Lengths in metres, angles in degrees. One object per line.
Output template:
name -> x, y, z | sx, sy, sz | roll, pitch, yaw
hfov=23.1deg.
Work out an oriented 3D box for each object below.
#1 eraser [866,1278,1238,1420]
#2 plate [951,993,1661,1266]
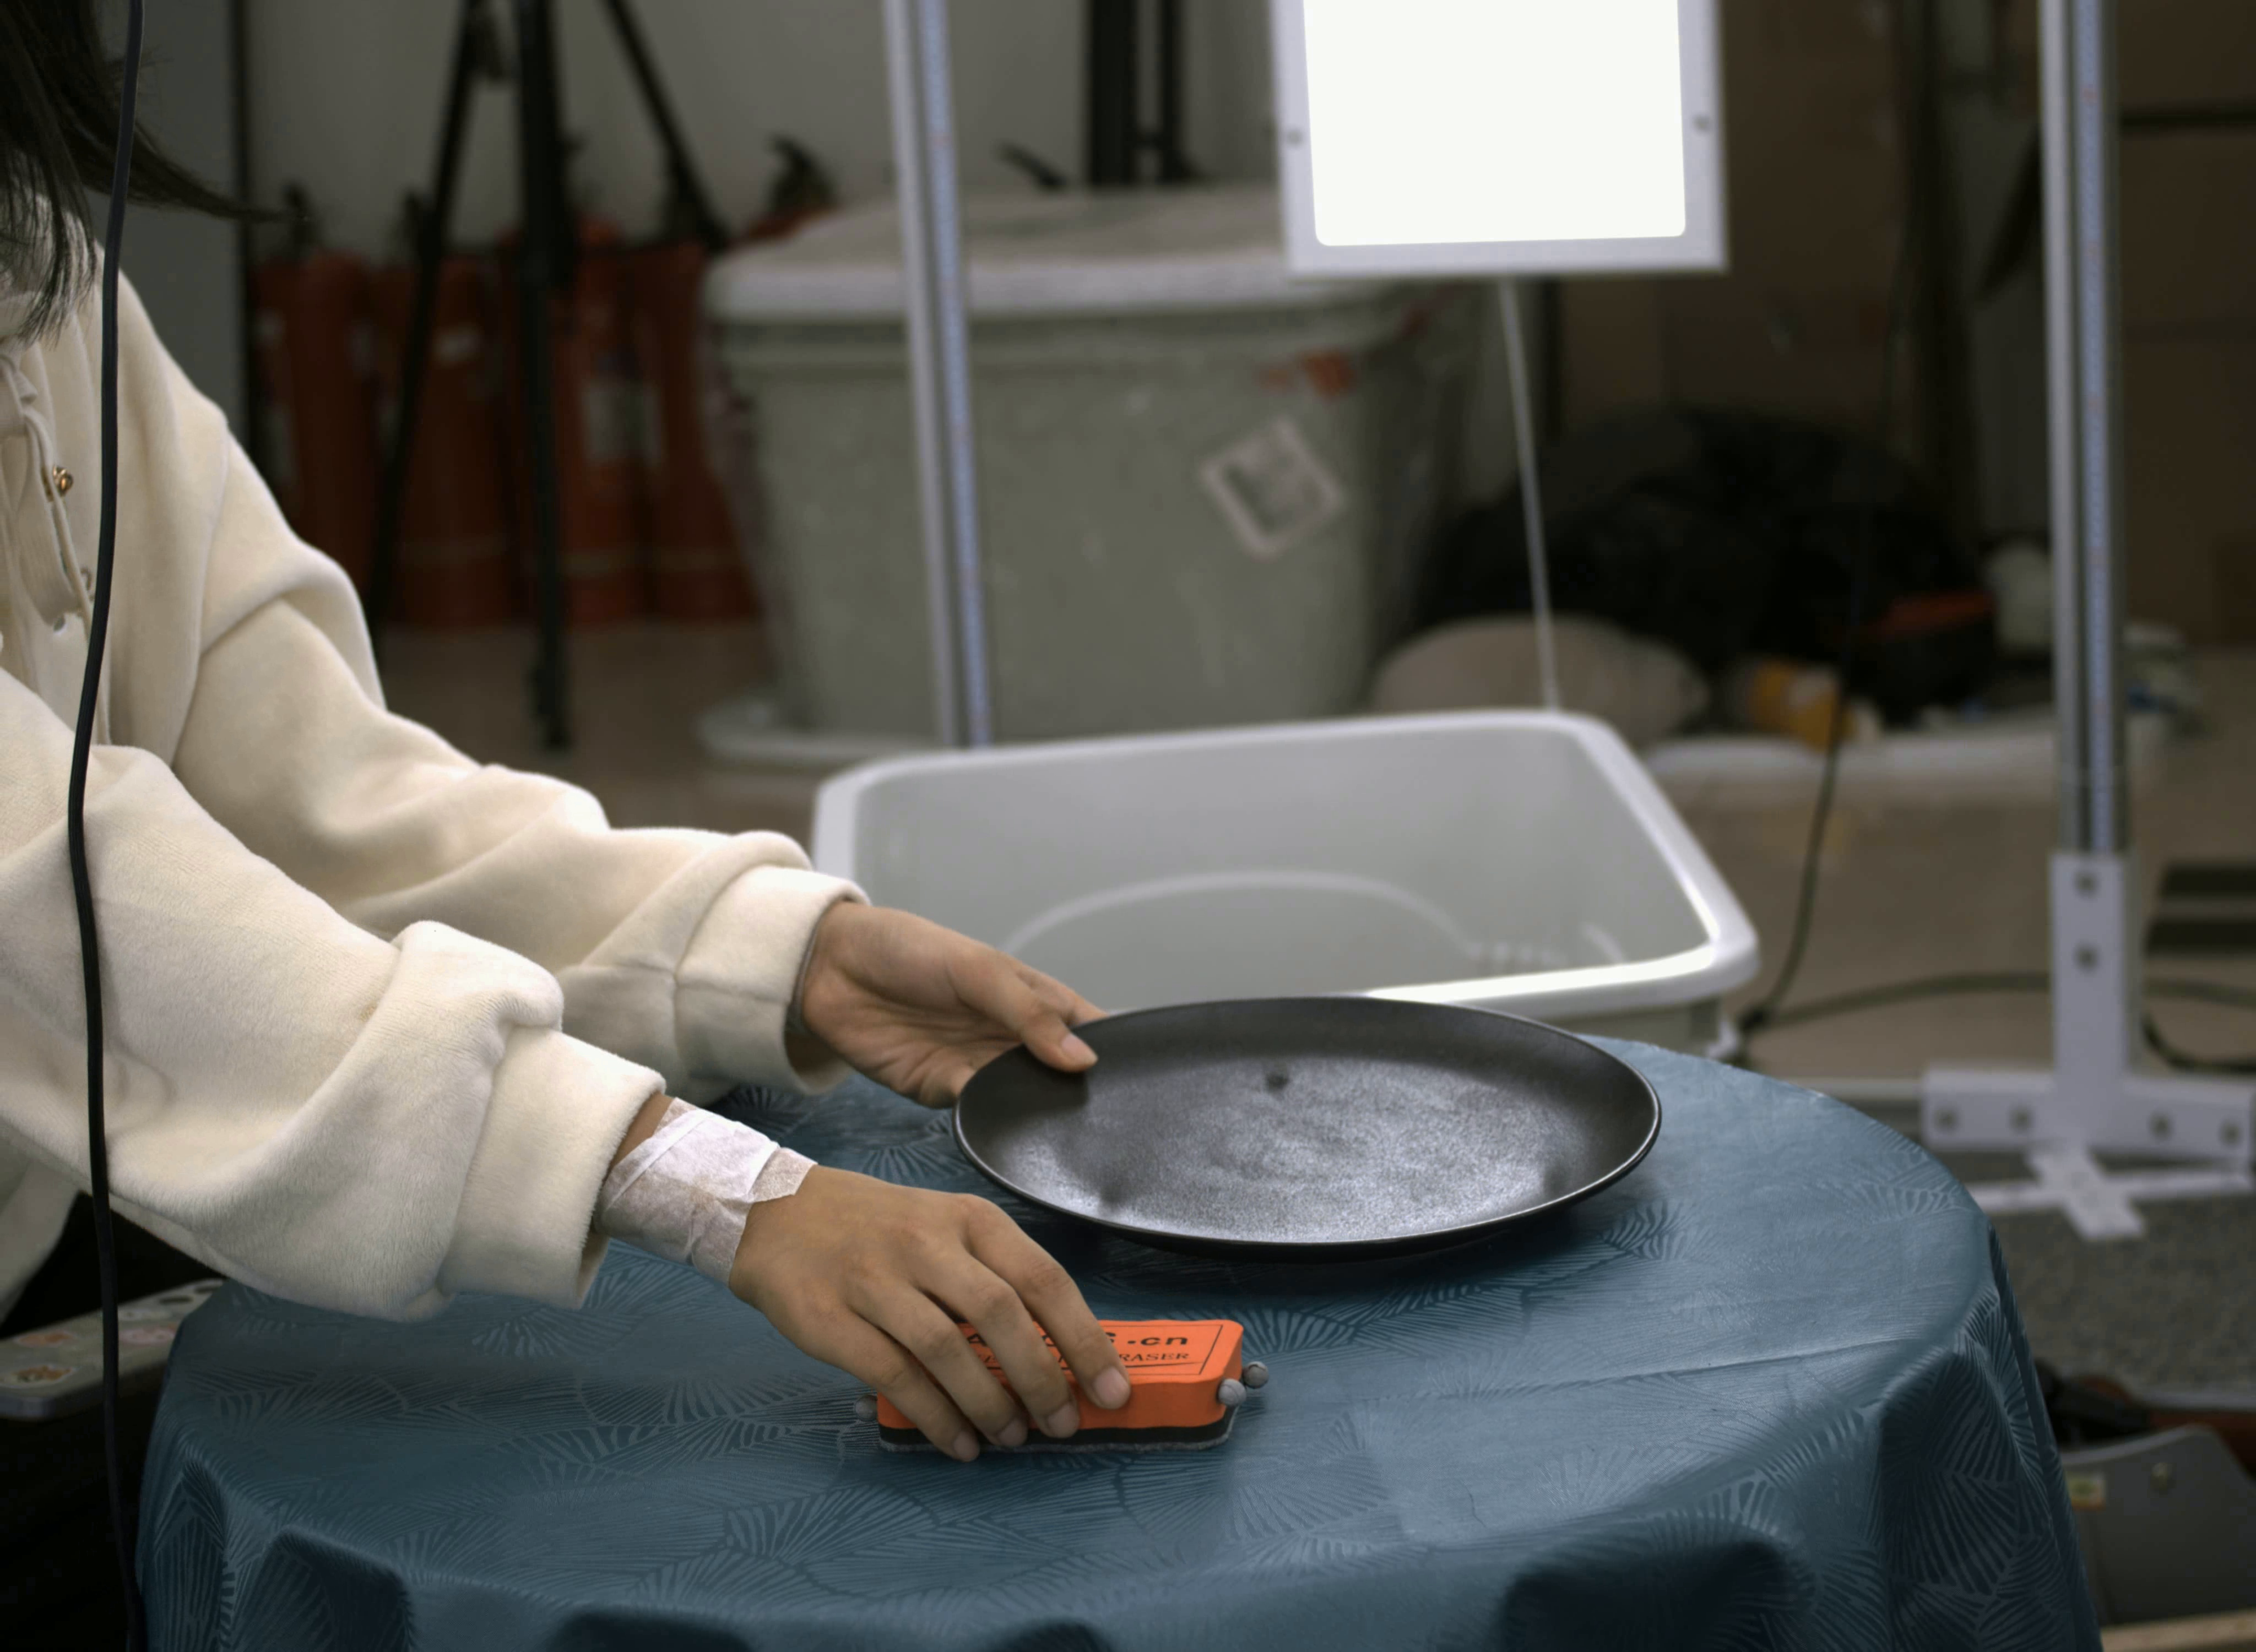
eraser -> -0.022, 0.158, 1.676 | 0.109, 0.023, 0.058 | 0, 20, 14
plate -> 0.061, 0.106, 1.879 | 0.243, 0.023, 0.244 | -2, 17, -1
